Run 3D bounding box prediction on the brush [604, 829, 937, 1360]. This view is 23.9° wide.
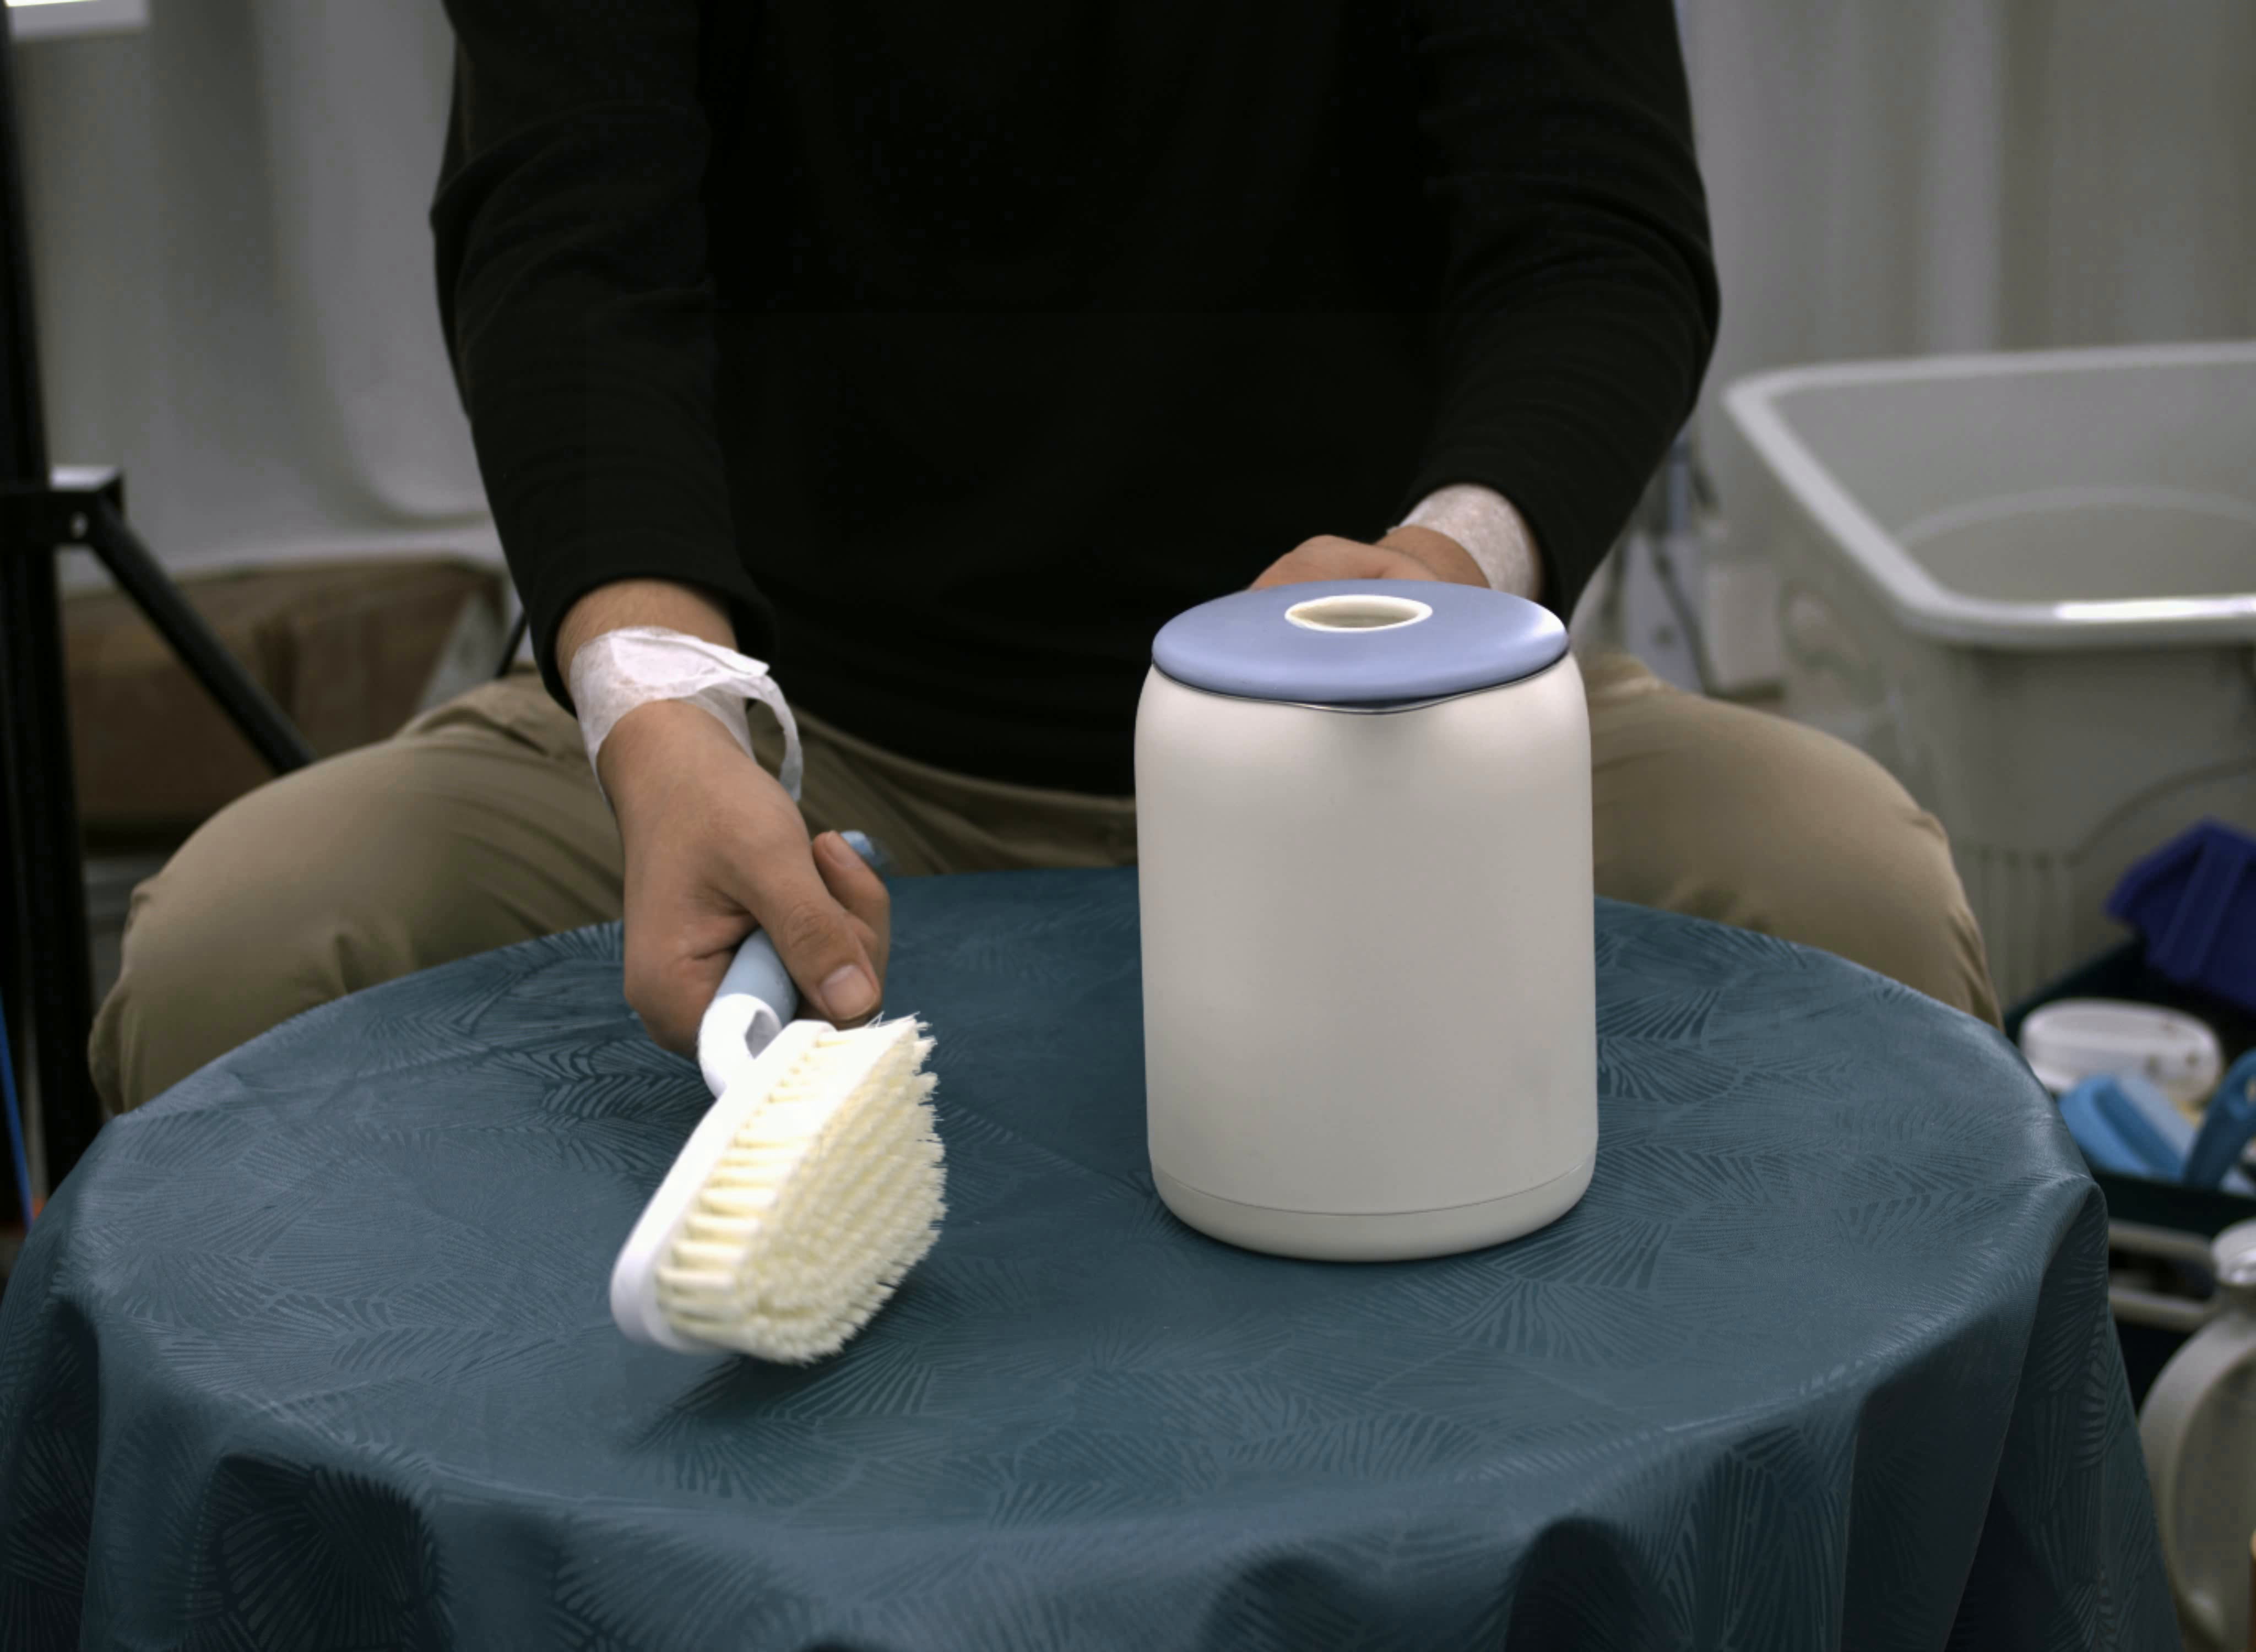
[{"bbox_3d":[-0.078,0.063,1.538,0.084,0.083,0.325,32,23,-5],"label":"brush"}]

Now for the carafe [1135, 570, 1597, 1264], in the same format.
[{"bbox_3d":[0.067,0.019,1.547,0.131,0.182,0.192,-3,14,-3],"label":"carafe"}]
